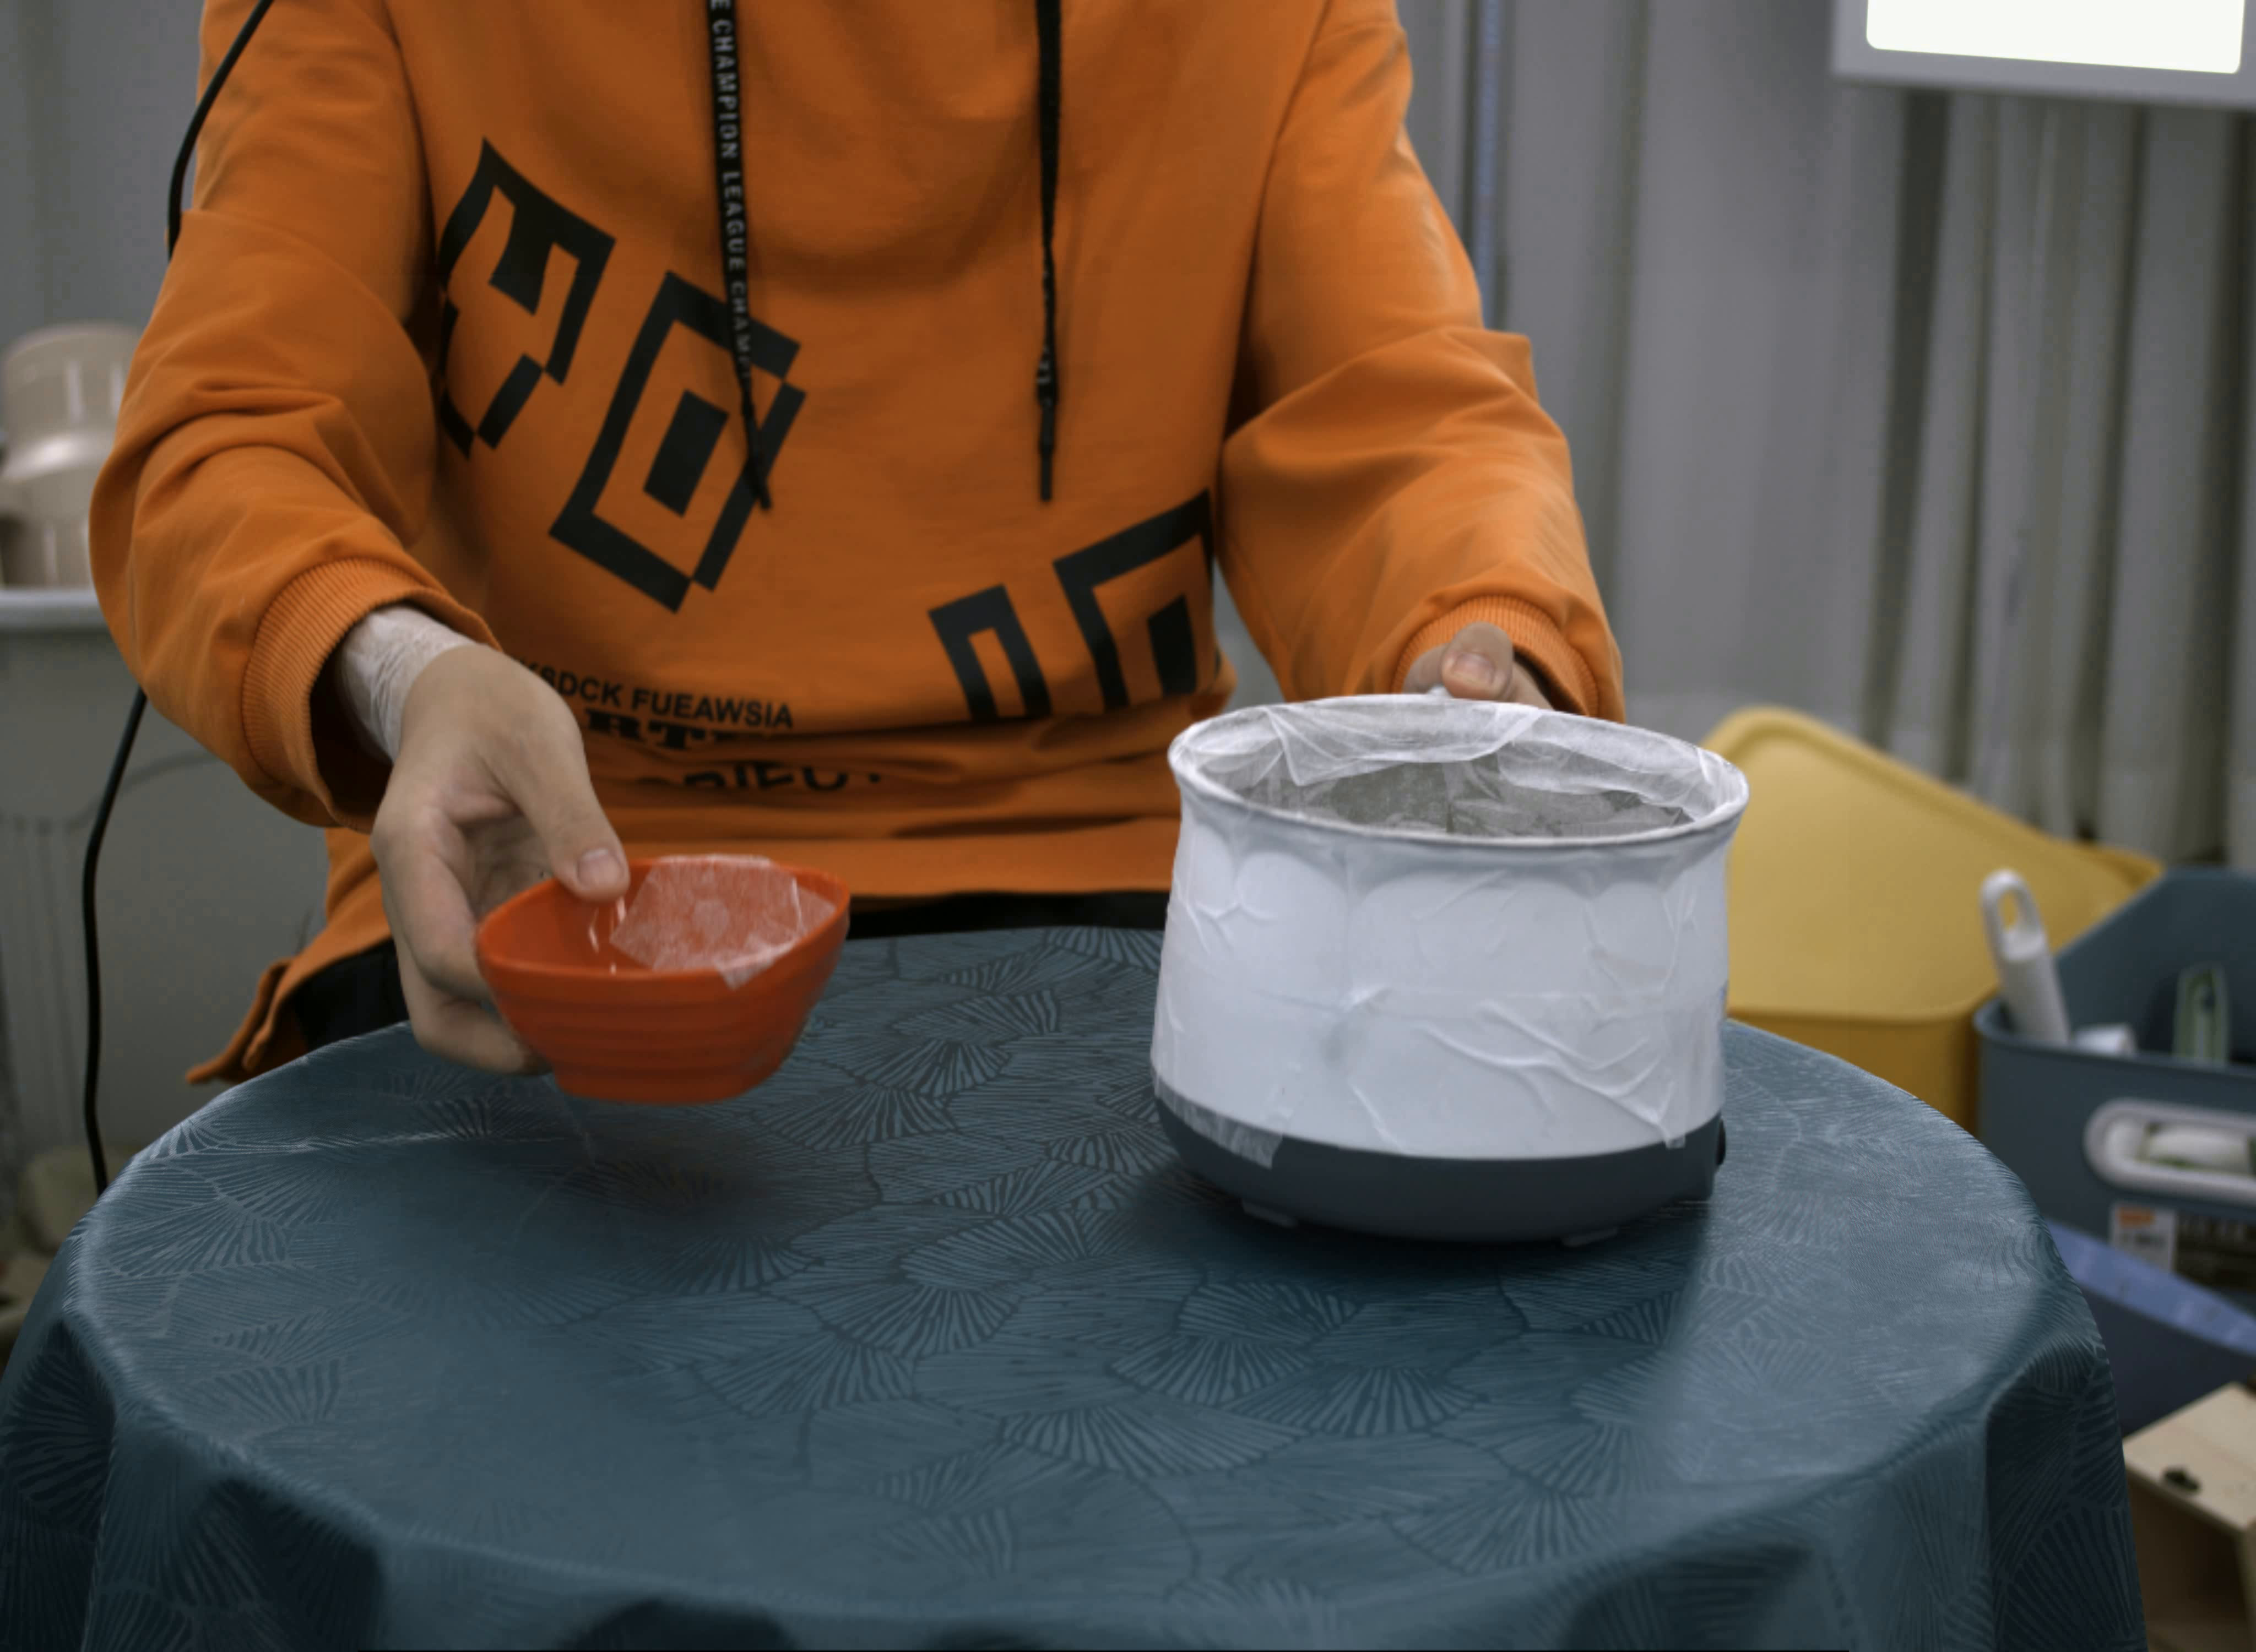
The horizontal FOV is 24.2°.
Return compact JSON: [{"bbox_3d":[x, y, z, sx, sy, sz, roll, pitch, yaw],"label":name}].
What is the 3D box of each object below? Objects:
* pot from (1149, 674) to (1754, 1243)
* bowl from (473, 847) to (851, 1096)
[{"bbox_3d":[0.097,0.035,1.630,0.178,0.137,0.232,4,15,0],"label":"pot"},{"bbox_3d":[-0.139,0.047,1.607,0.118,0.052,0.118,-4,18,2],"label":"bowl"}]
